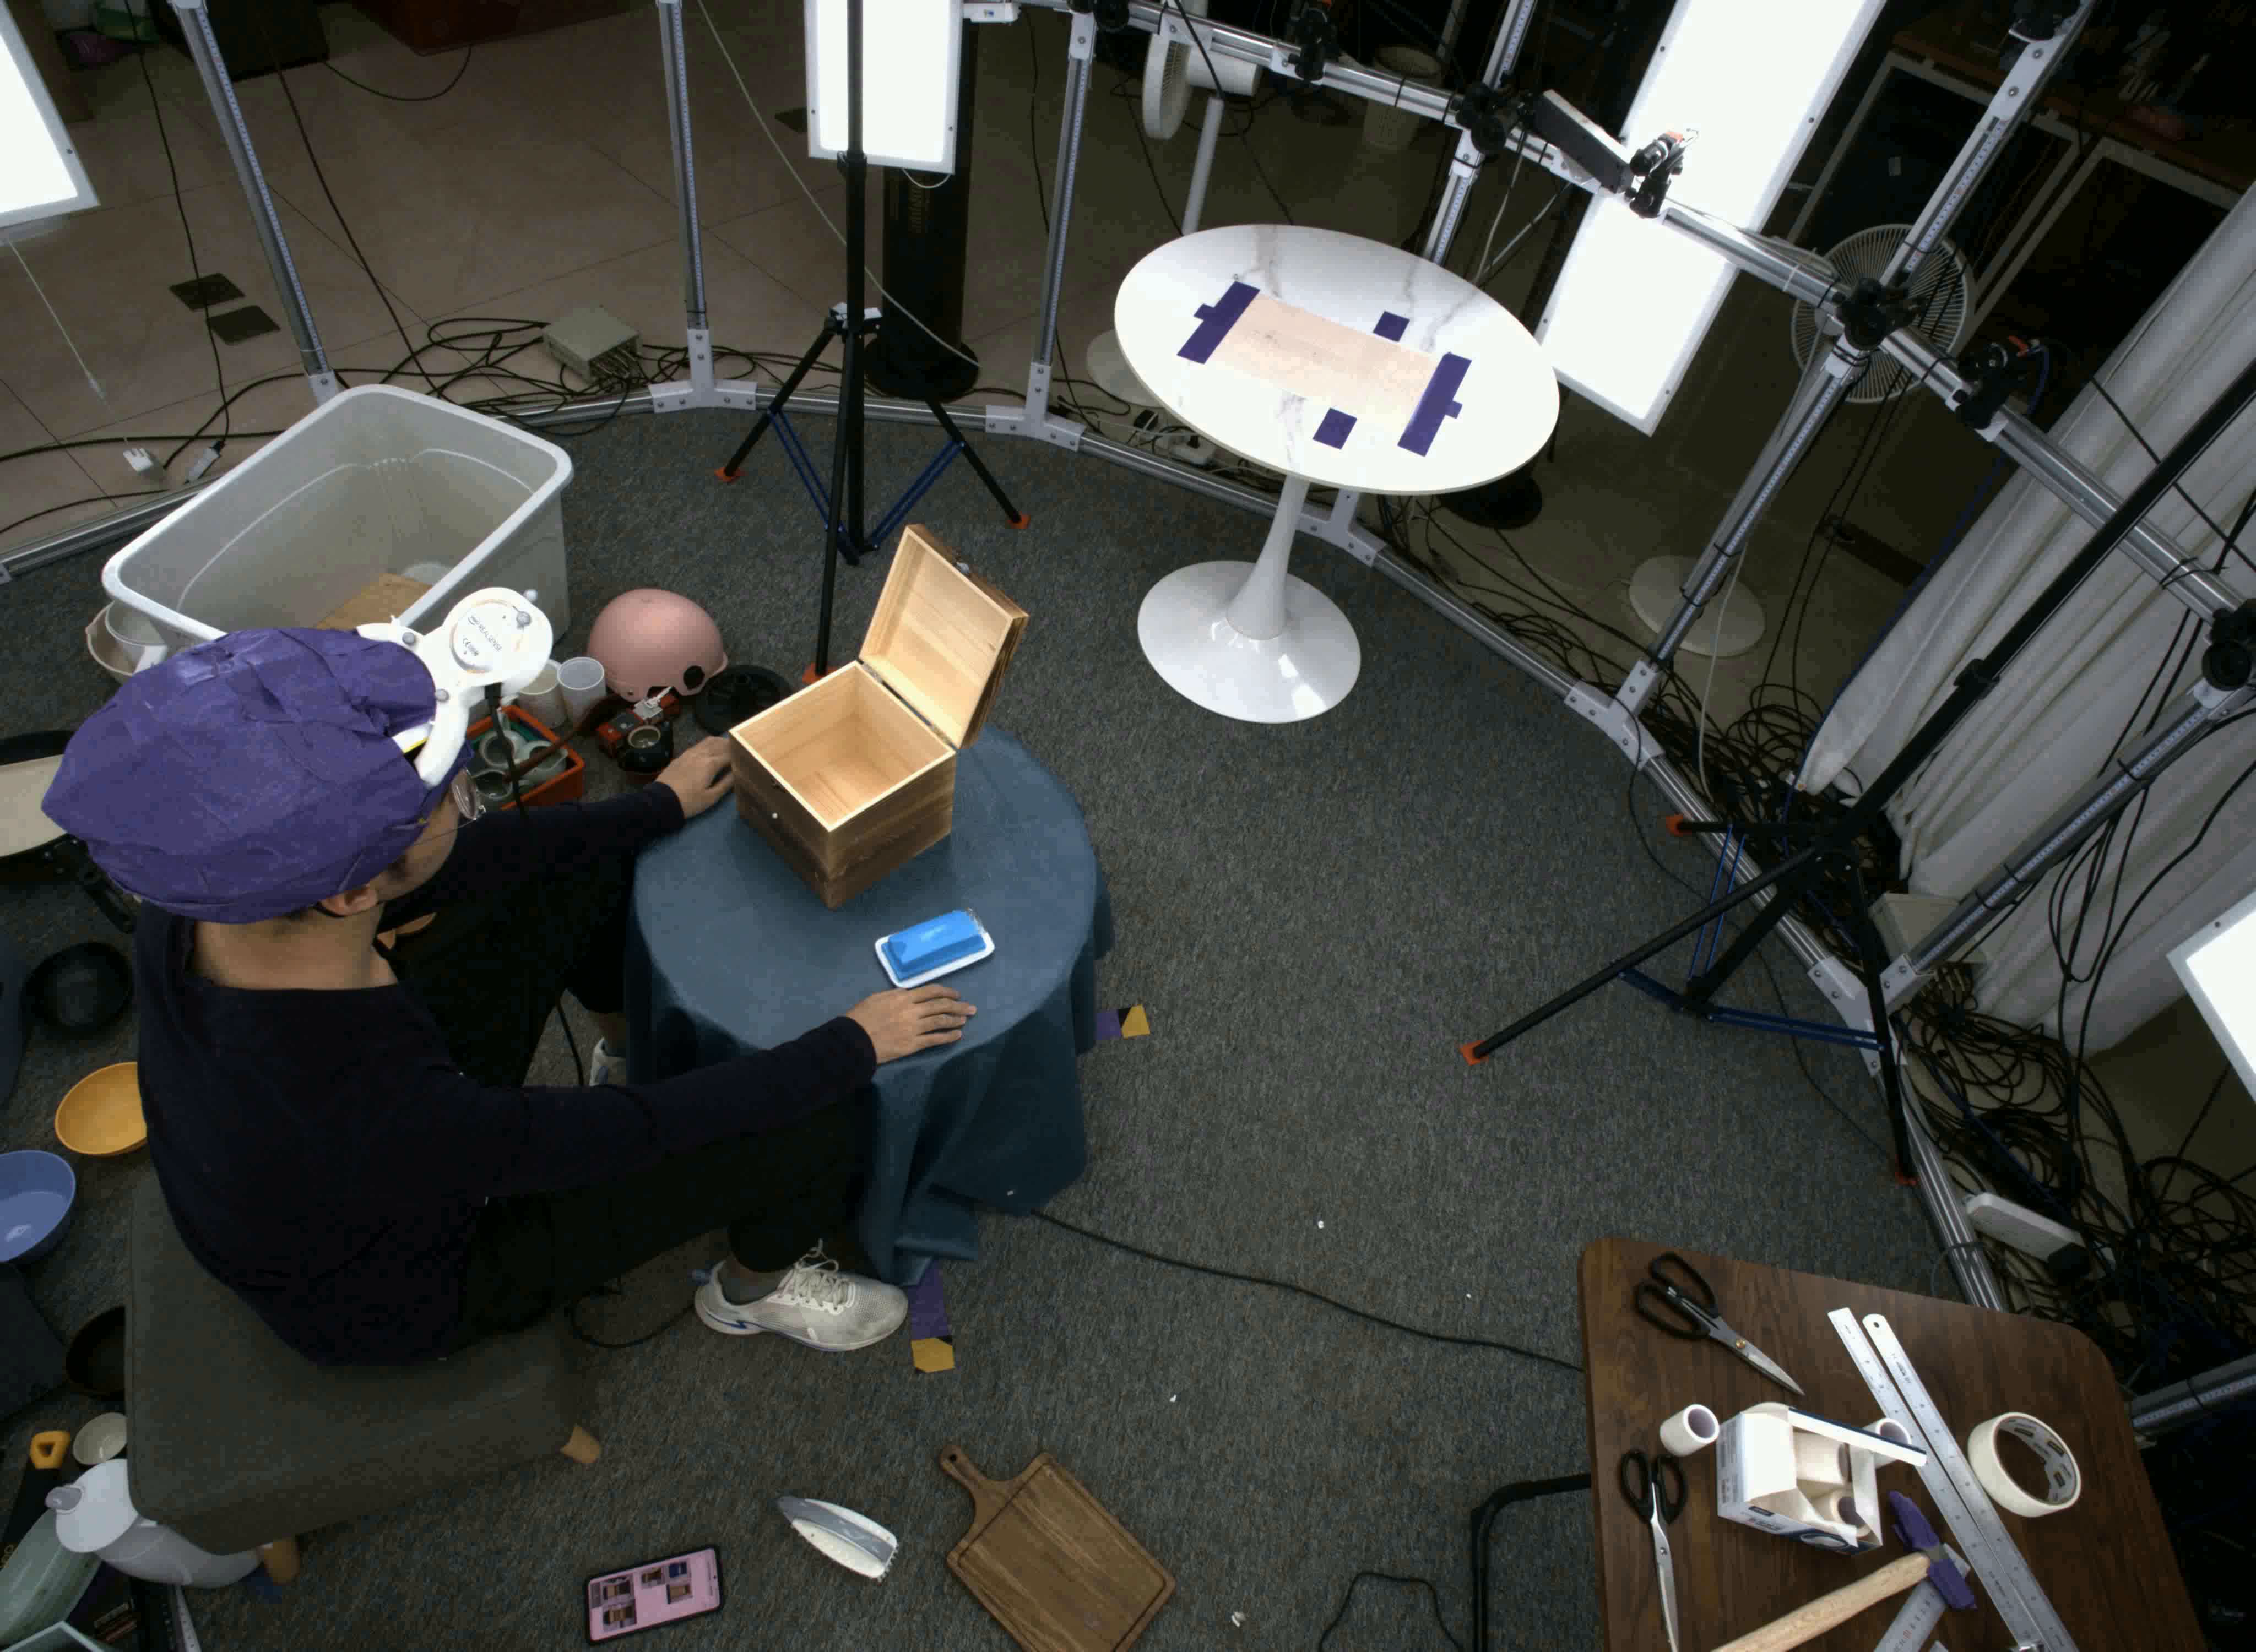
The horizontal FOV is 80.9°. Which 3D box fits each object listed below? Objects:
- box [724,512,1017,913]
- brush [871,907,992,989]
[{"bbox_3d":[-0.321,-0.142,1.624,0.204,0.384,0.323,40,55,20],"label":"box"},{"bbox_3d":[-0.245,0.142,1.625,0.145,0.057,0.081,-18,56,-27],"label":"brush"}]
